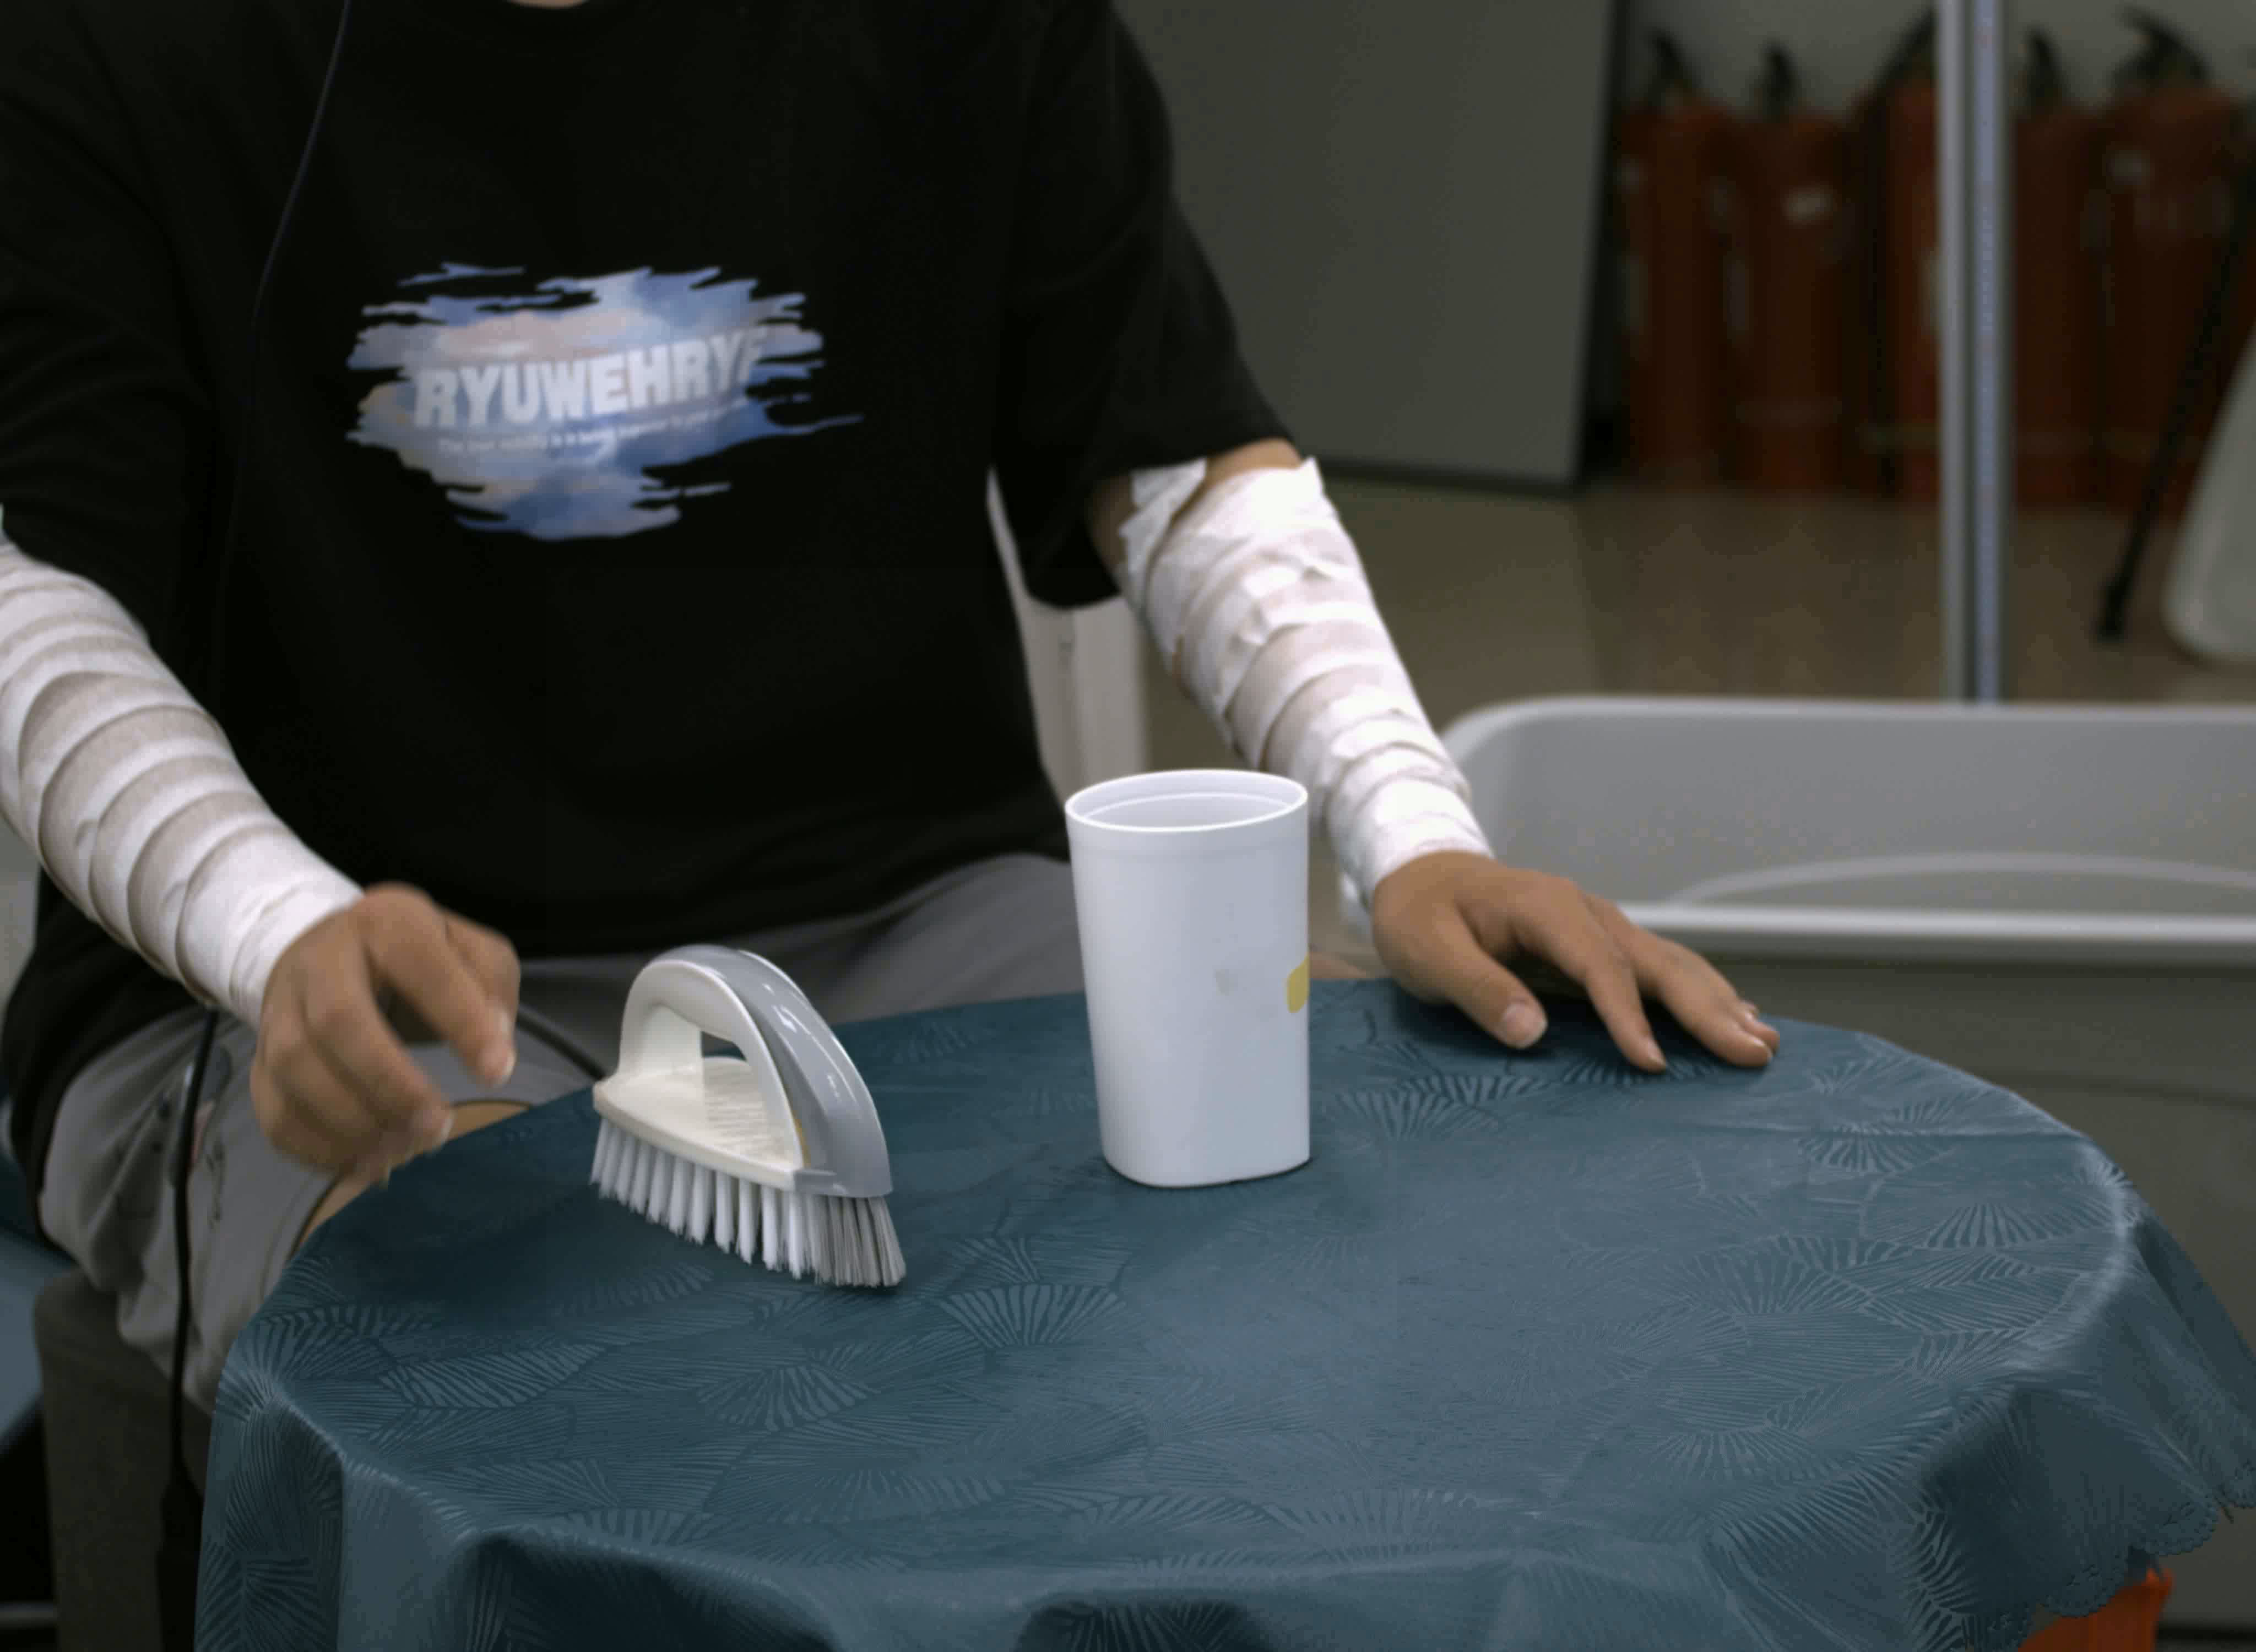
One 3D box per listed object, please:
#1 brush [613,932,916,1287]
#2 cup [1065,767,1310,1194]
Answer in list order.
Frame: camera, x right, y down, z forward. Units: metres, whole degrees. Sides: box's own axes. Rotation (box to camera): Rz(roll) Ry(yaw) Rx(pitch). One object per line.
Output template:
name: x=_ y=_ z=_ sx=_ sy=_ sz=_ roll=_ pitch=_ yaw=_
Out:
brush: x=-0.115 y=0.088 z=1.751 sx=0.060 sy=0.095 sz=0.177 roll=-15 pitch=19 yaw=-24
cup: x=0.023 y=0.051 z=1.789 sx=0.080 sy=0.127 sz=0.082 roll=-4 pitch=14 yaw=0
